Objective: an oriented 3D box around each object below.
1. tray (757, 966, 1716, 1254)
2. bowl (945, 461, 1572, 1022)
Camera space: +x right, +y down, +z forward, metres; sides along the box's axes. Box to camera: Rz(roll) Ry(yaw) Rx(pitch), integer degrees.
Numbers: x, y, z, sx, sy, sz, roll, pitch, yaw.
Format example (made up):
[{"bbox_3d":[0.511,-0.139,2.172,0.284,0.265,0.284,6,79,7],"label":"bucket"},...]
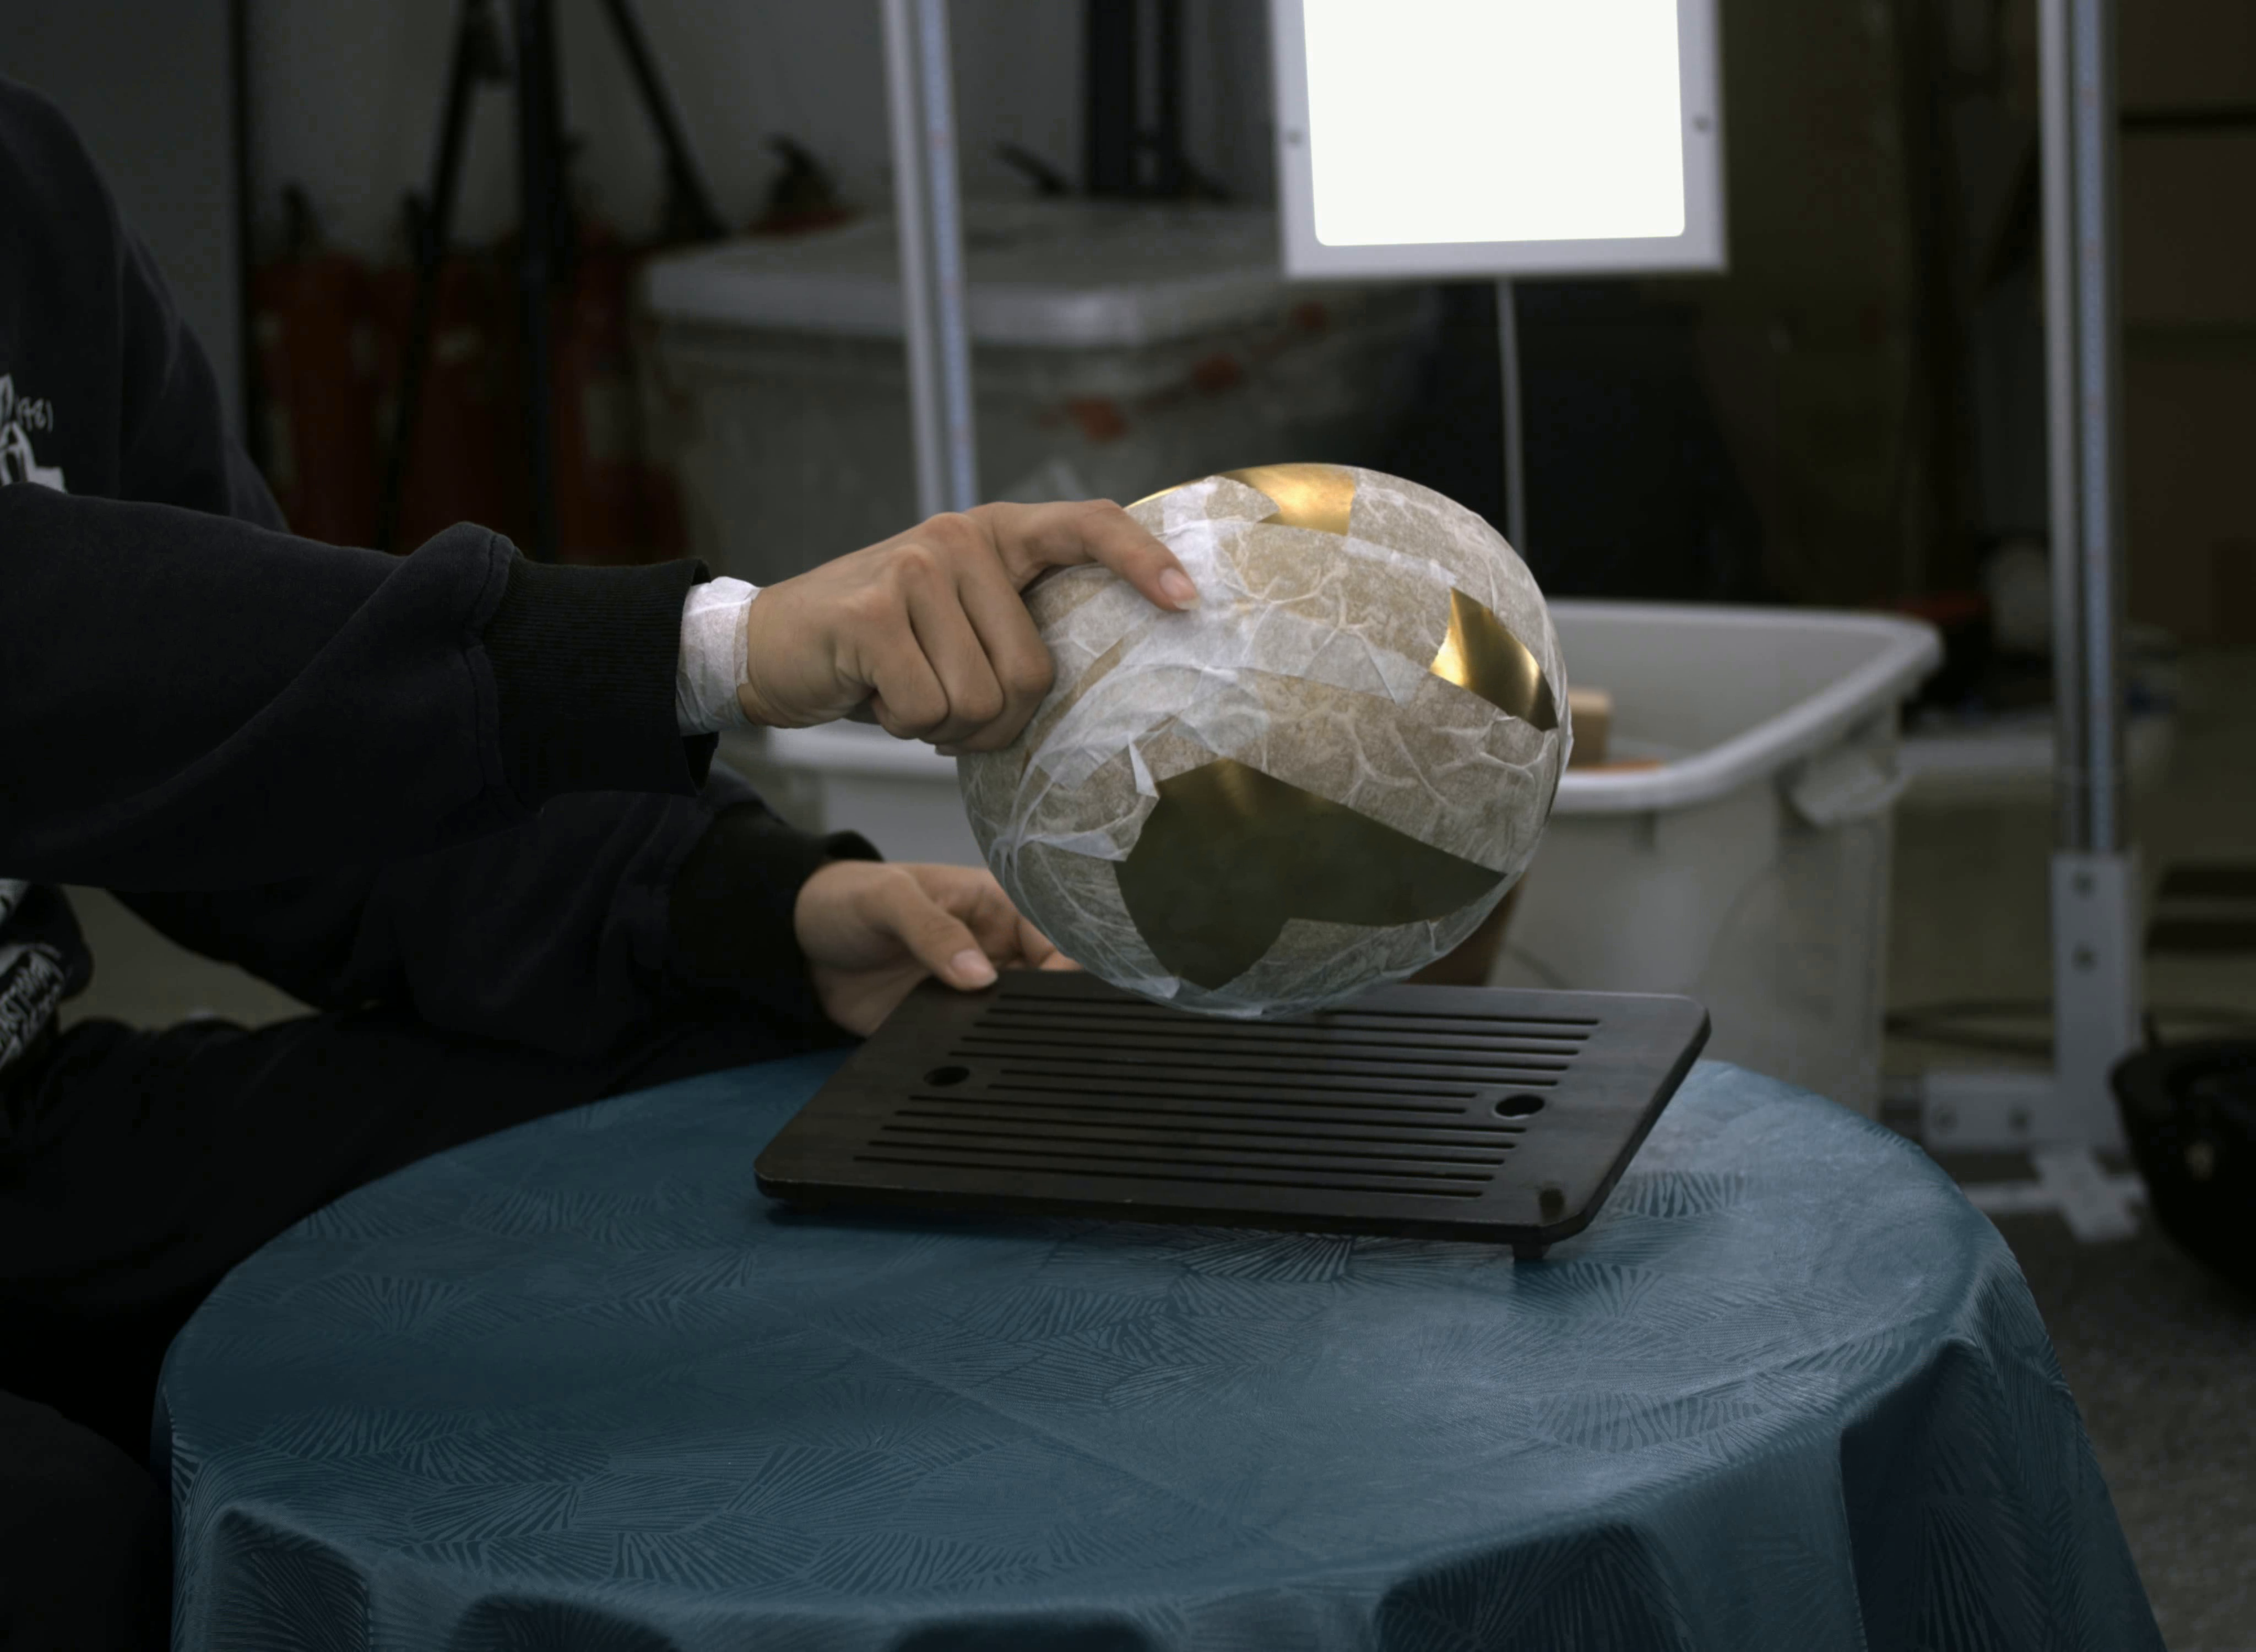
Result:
[{"bbox_3d":[0.039,0.097,1.910,0.311,0.018,0.167,1,25,25],"label":"tray"},{"bbox_3d":[0.047,-0.007,1.759,0.213,0.216,0.095,-5,40,-6],"label":"bowl"}]
